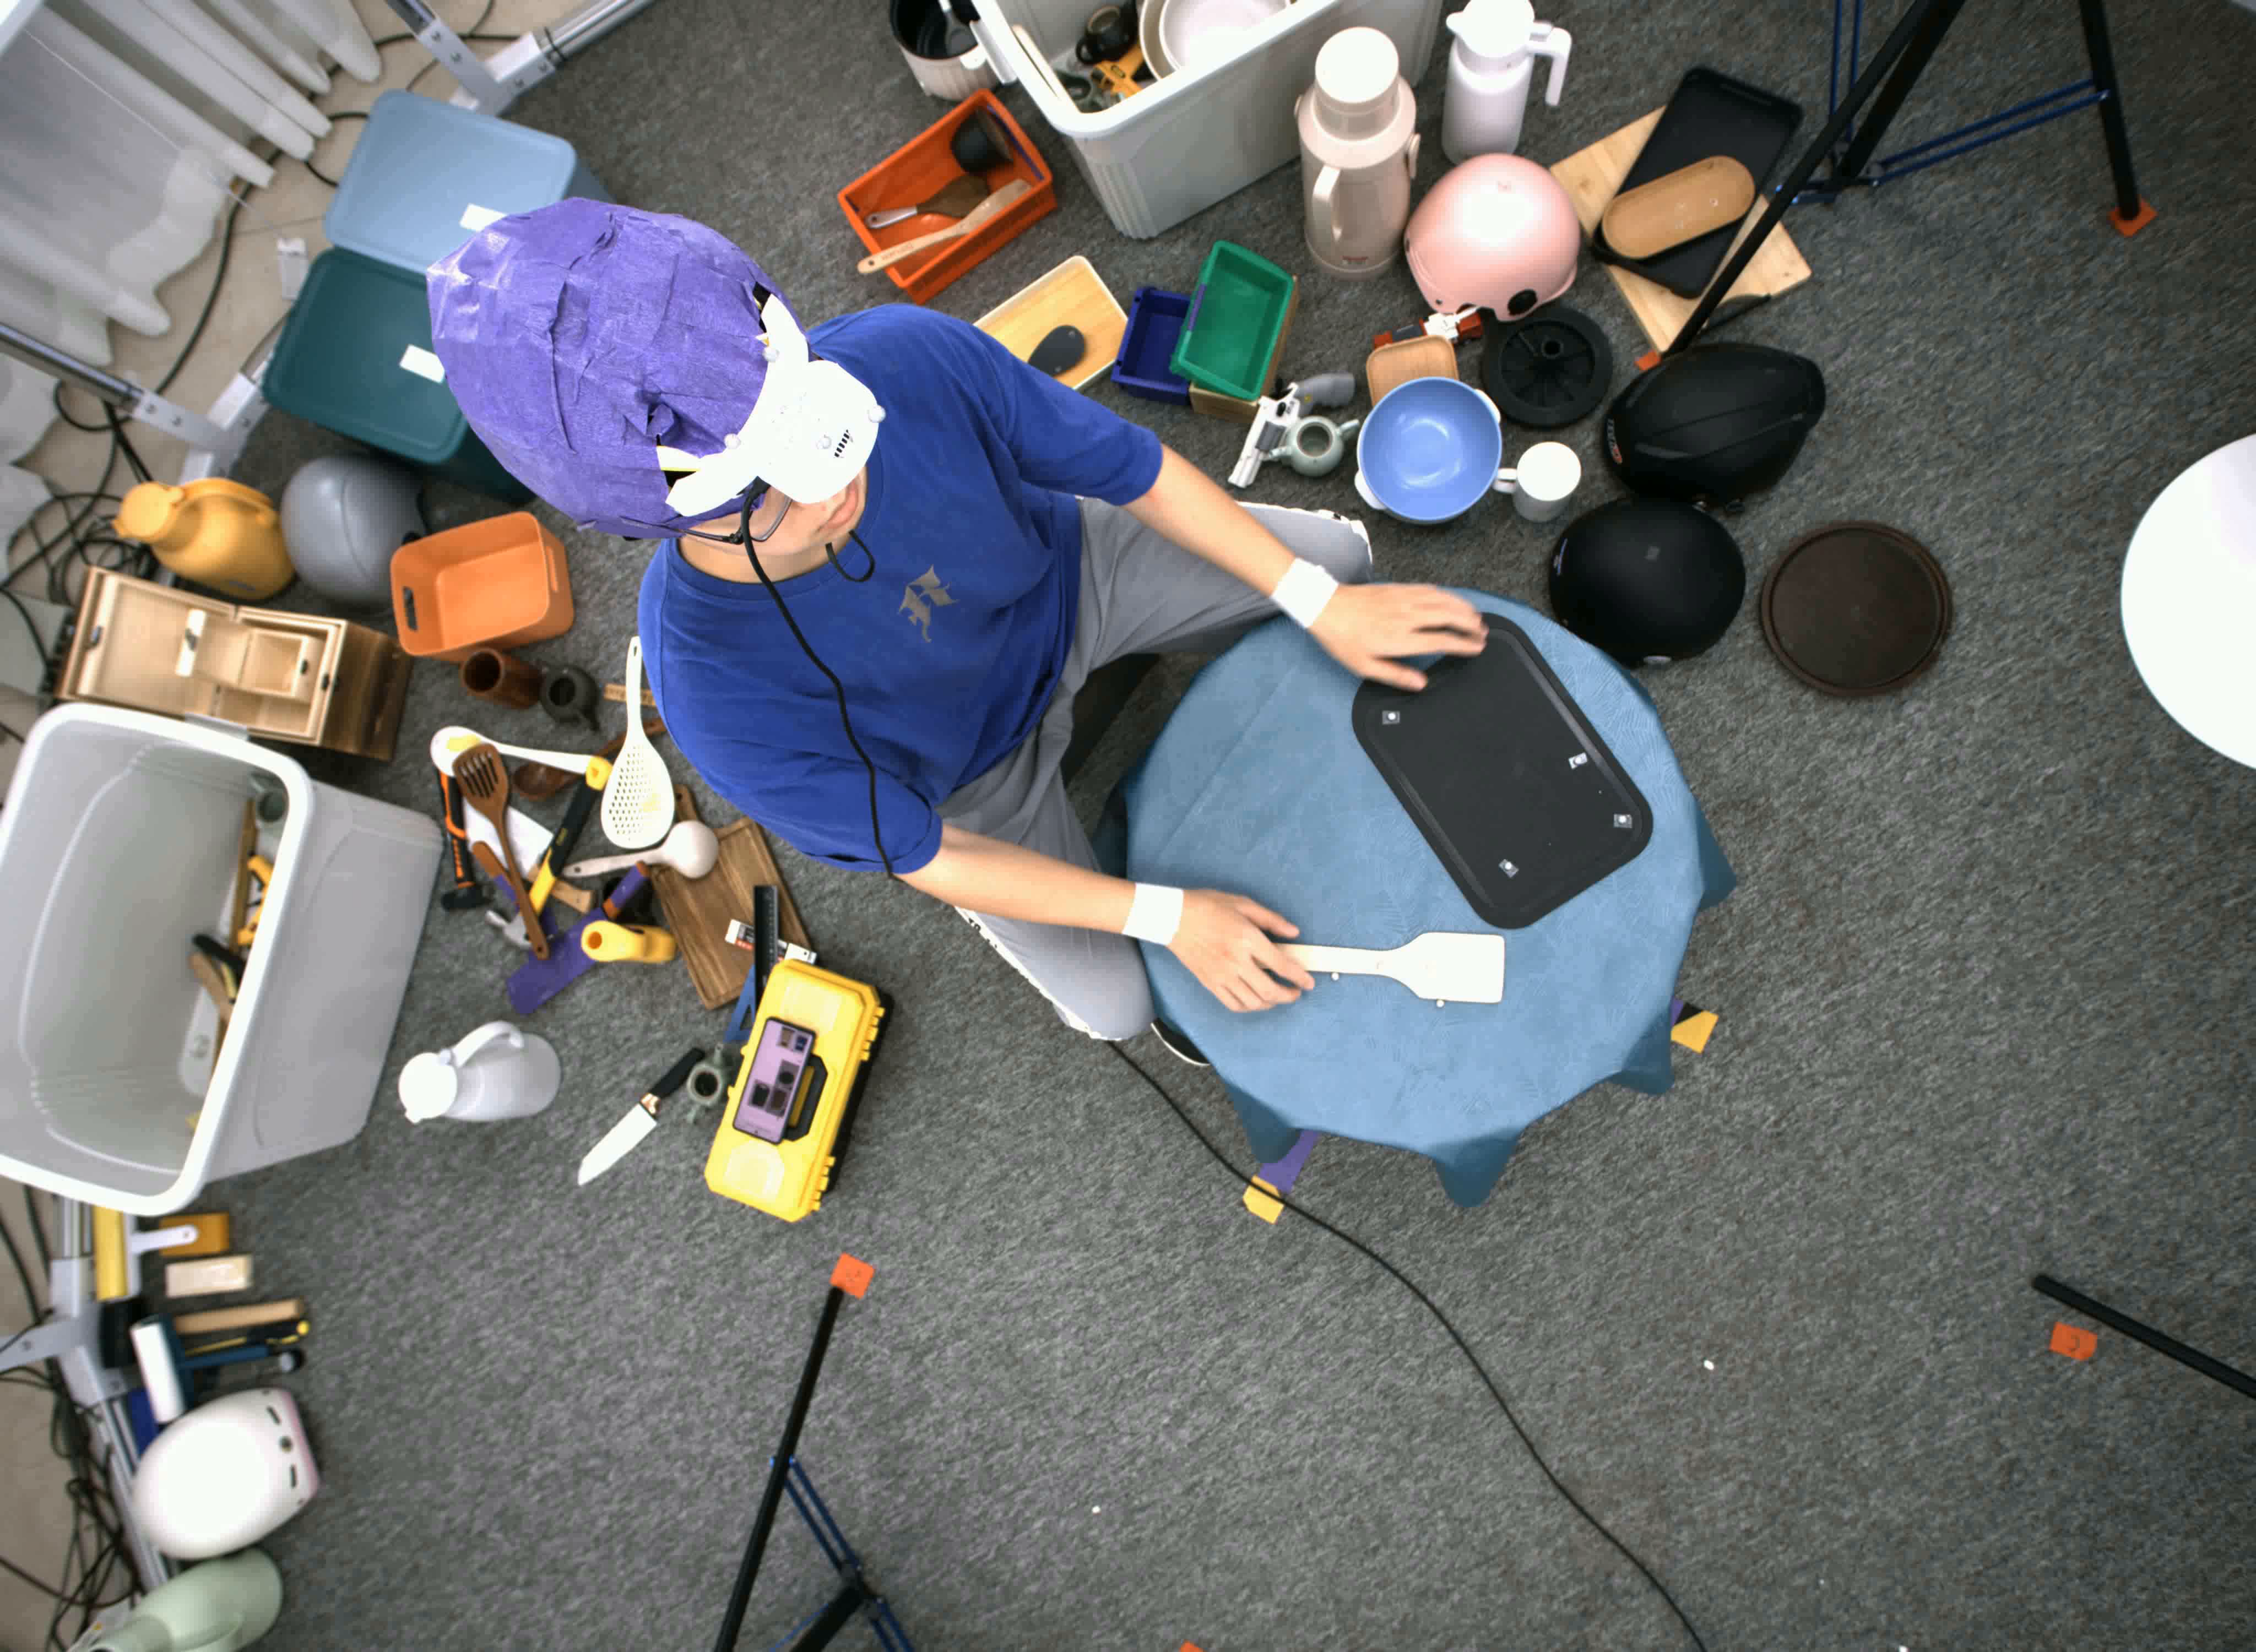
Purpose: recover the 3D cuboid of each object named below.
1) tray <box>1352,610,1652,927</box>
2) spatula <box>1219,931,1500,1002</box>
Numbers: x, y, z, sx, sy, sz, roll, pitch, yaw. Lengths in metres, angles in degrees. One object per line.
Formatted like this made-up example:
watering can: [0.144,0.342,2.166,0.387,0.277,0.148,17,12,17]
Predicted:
tray: [0.385,-0.070,1.440,0.212,0.010,0.323,-33,82,7]
spatula: [0.241,0.140,1.455,0.294,0.010,0.072,2,89,11]
